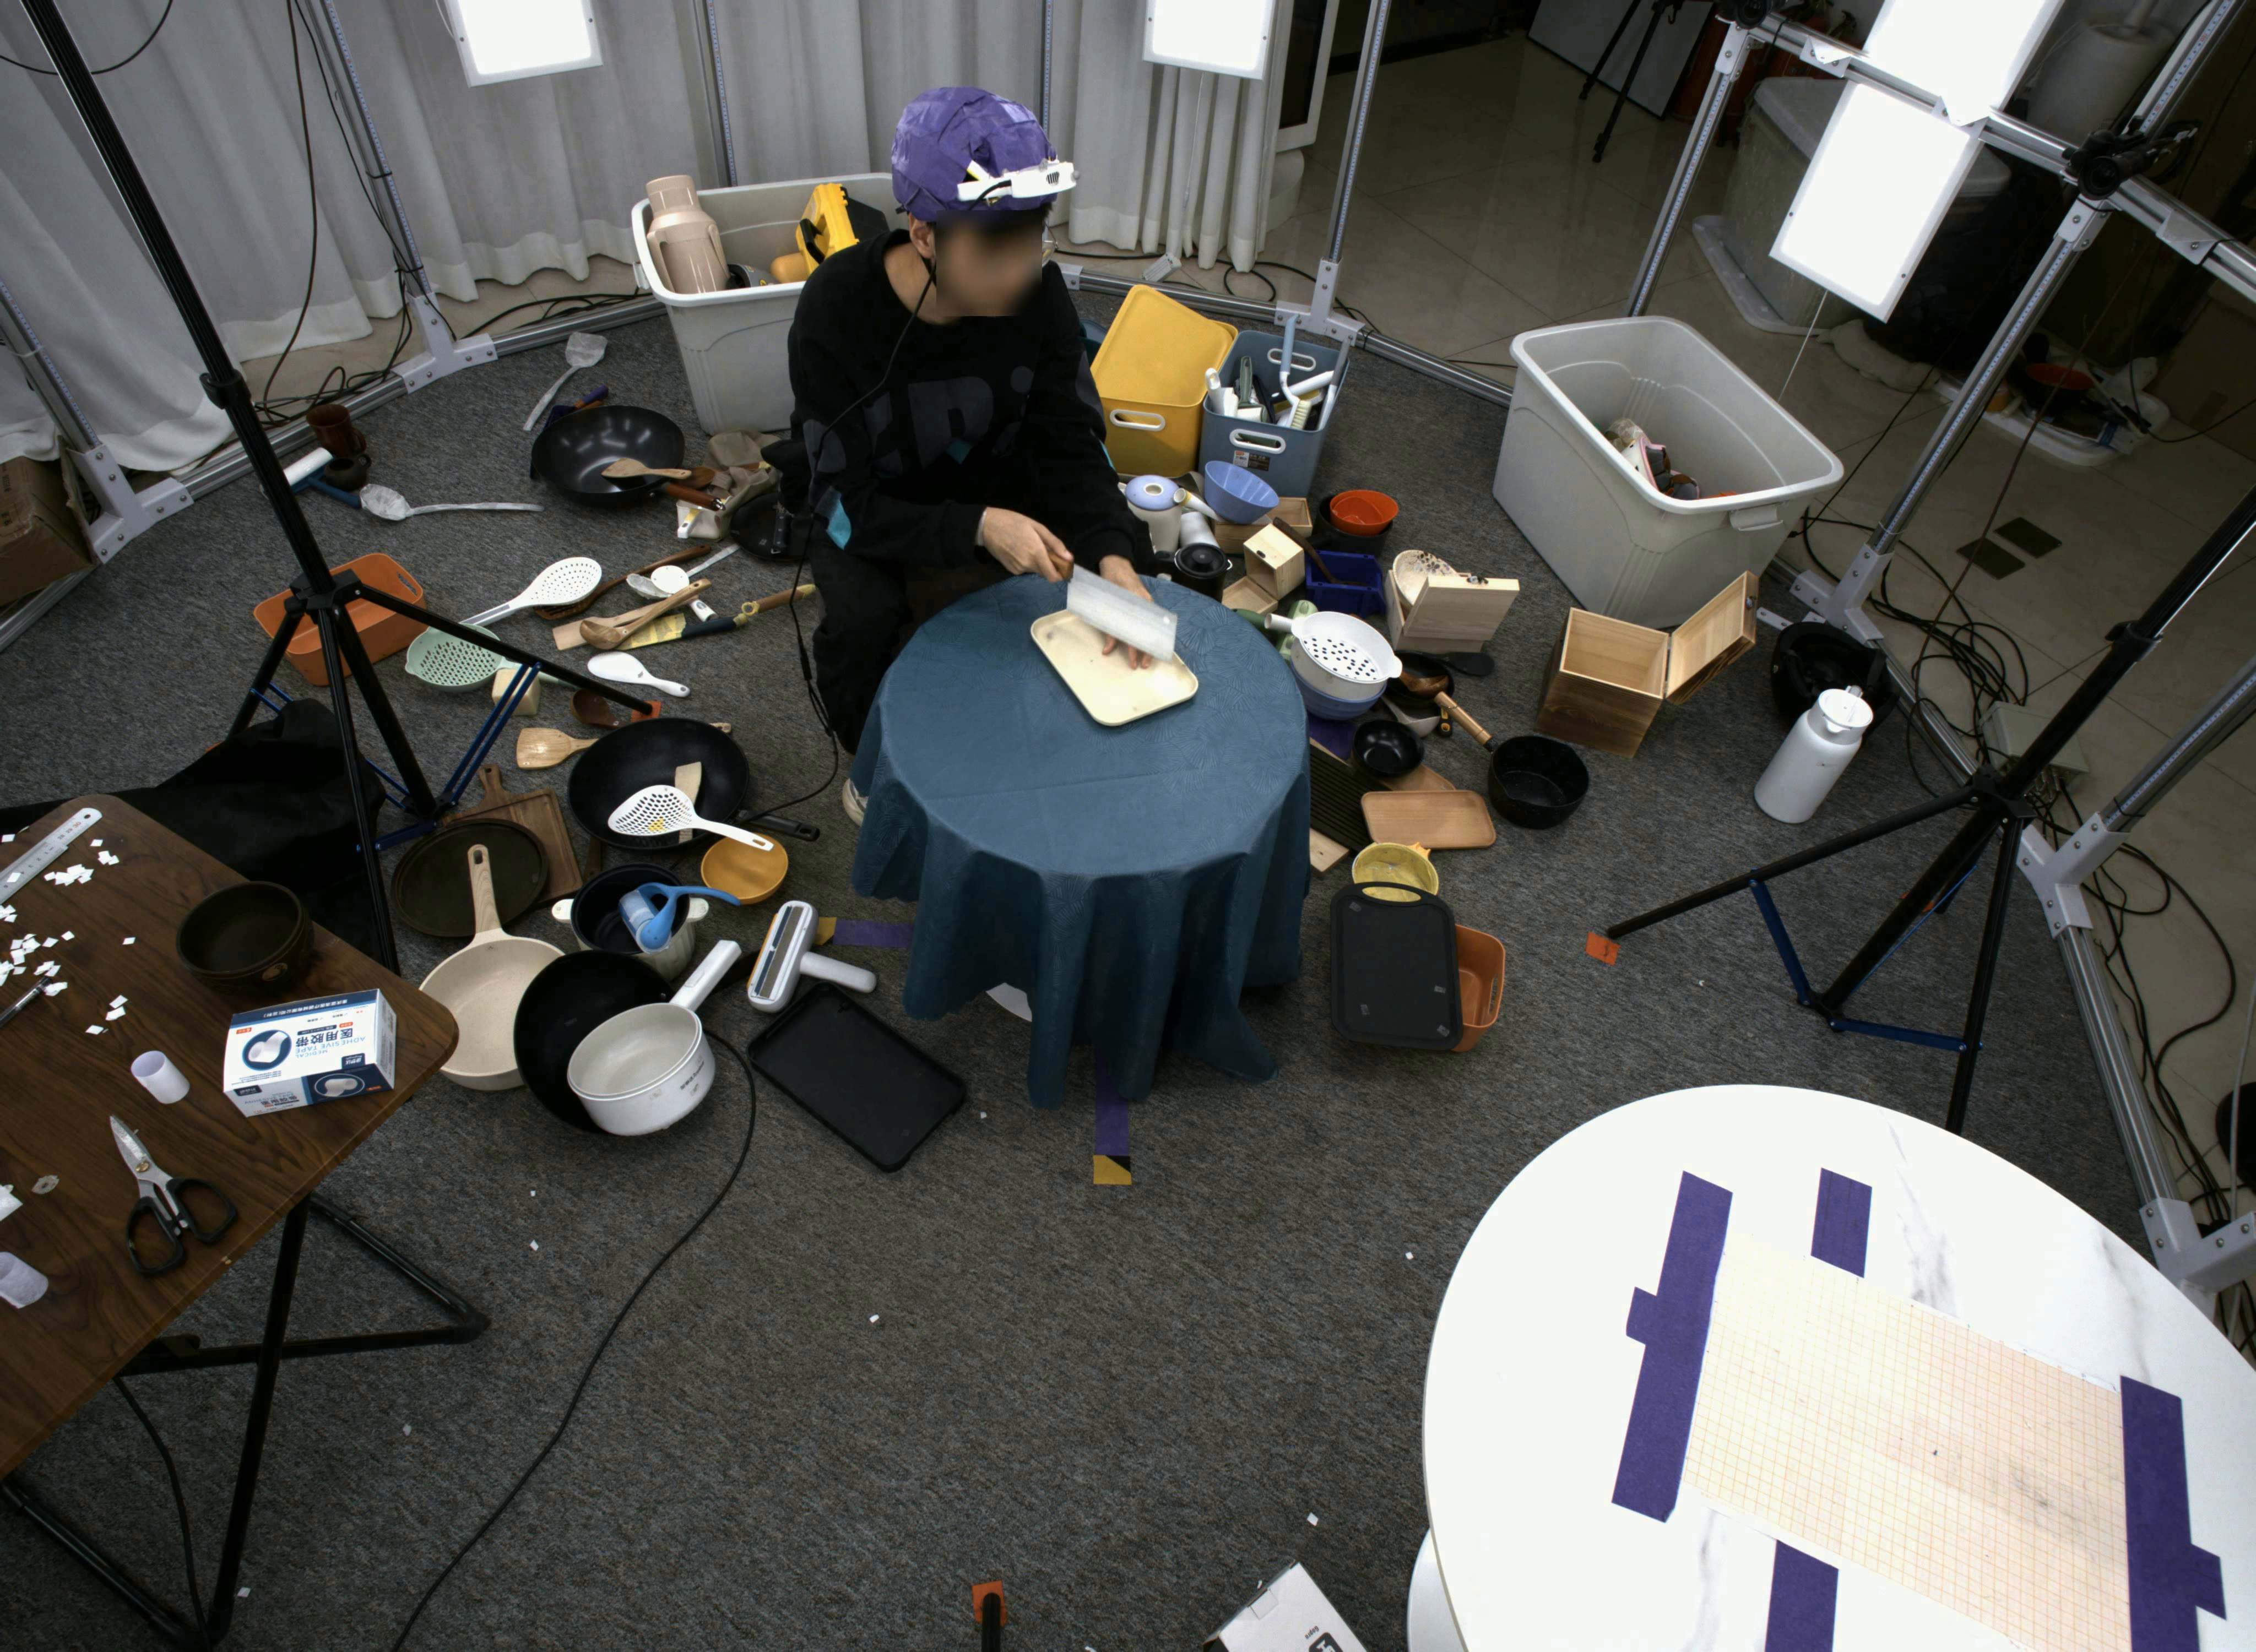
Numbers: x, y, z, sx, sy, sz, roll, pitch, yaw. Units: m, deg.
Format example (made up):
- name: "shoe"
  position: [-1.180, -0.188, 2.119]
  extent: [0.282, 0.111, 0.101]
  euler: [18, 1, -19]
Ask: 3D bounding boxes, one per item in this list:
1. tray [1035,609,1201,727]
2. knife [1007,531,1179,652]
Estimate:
- name: "tray"
  position: [-0.016, -0.242, 1.865]
  extent: [0.172, 0.017, 0.245]
  euler: [-22, 54, -19]
- name: "knife"
  position: [-0.052, -0.332, 1.842]
  extent: [0.309, 0.090, 0.021]
  euler: [30, 51, 24]
